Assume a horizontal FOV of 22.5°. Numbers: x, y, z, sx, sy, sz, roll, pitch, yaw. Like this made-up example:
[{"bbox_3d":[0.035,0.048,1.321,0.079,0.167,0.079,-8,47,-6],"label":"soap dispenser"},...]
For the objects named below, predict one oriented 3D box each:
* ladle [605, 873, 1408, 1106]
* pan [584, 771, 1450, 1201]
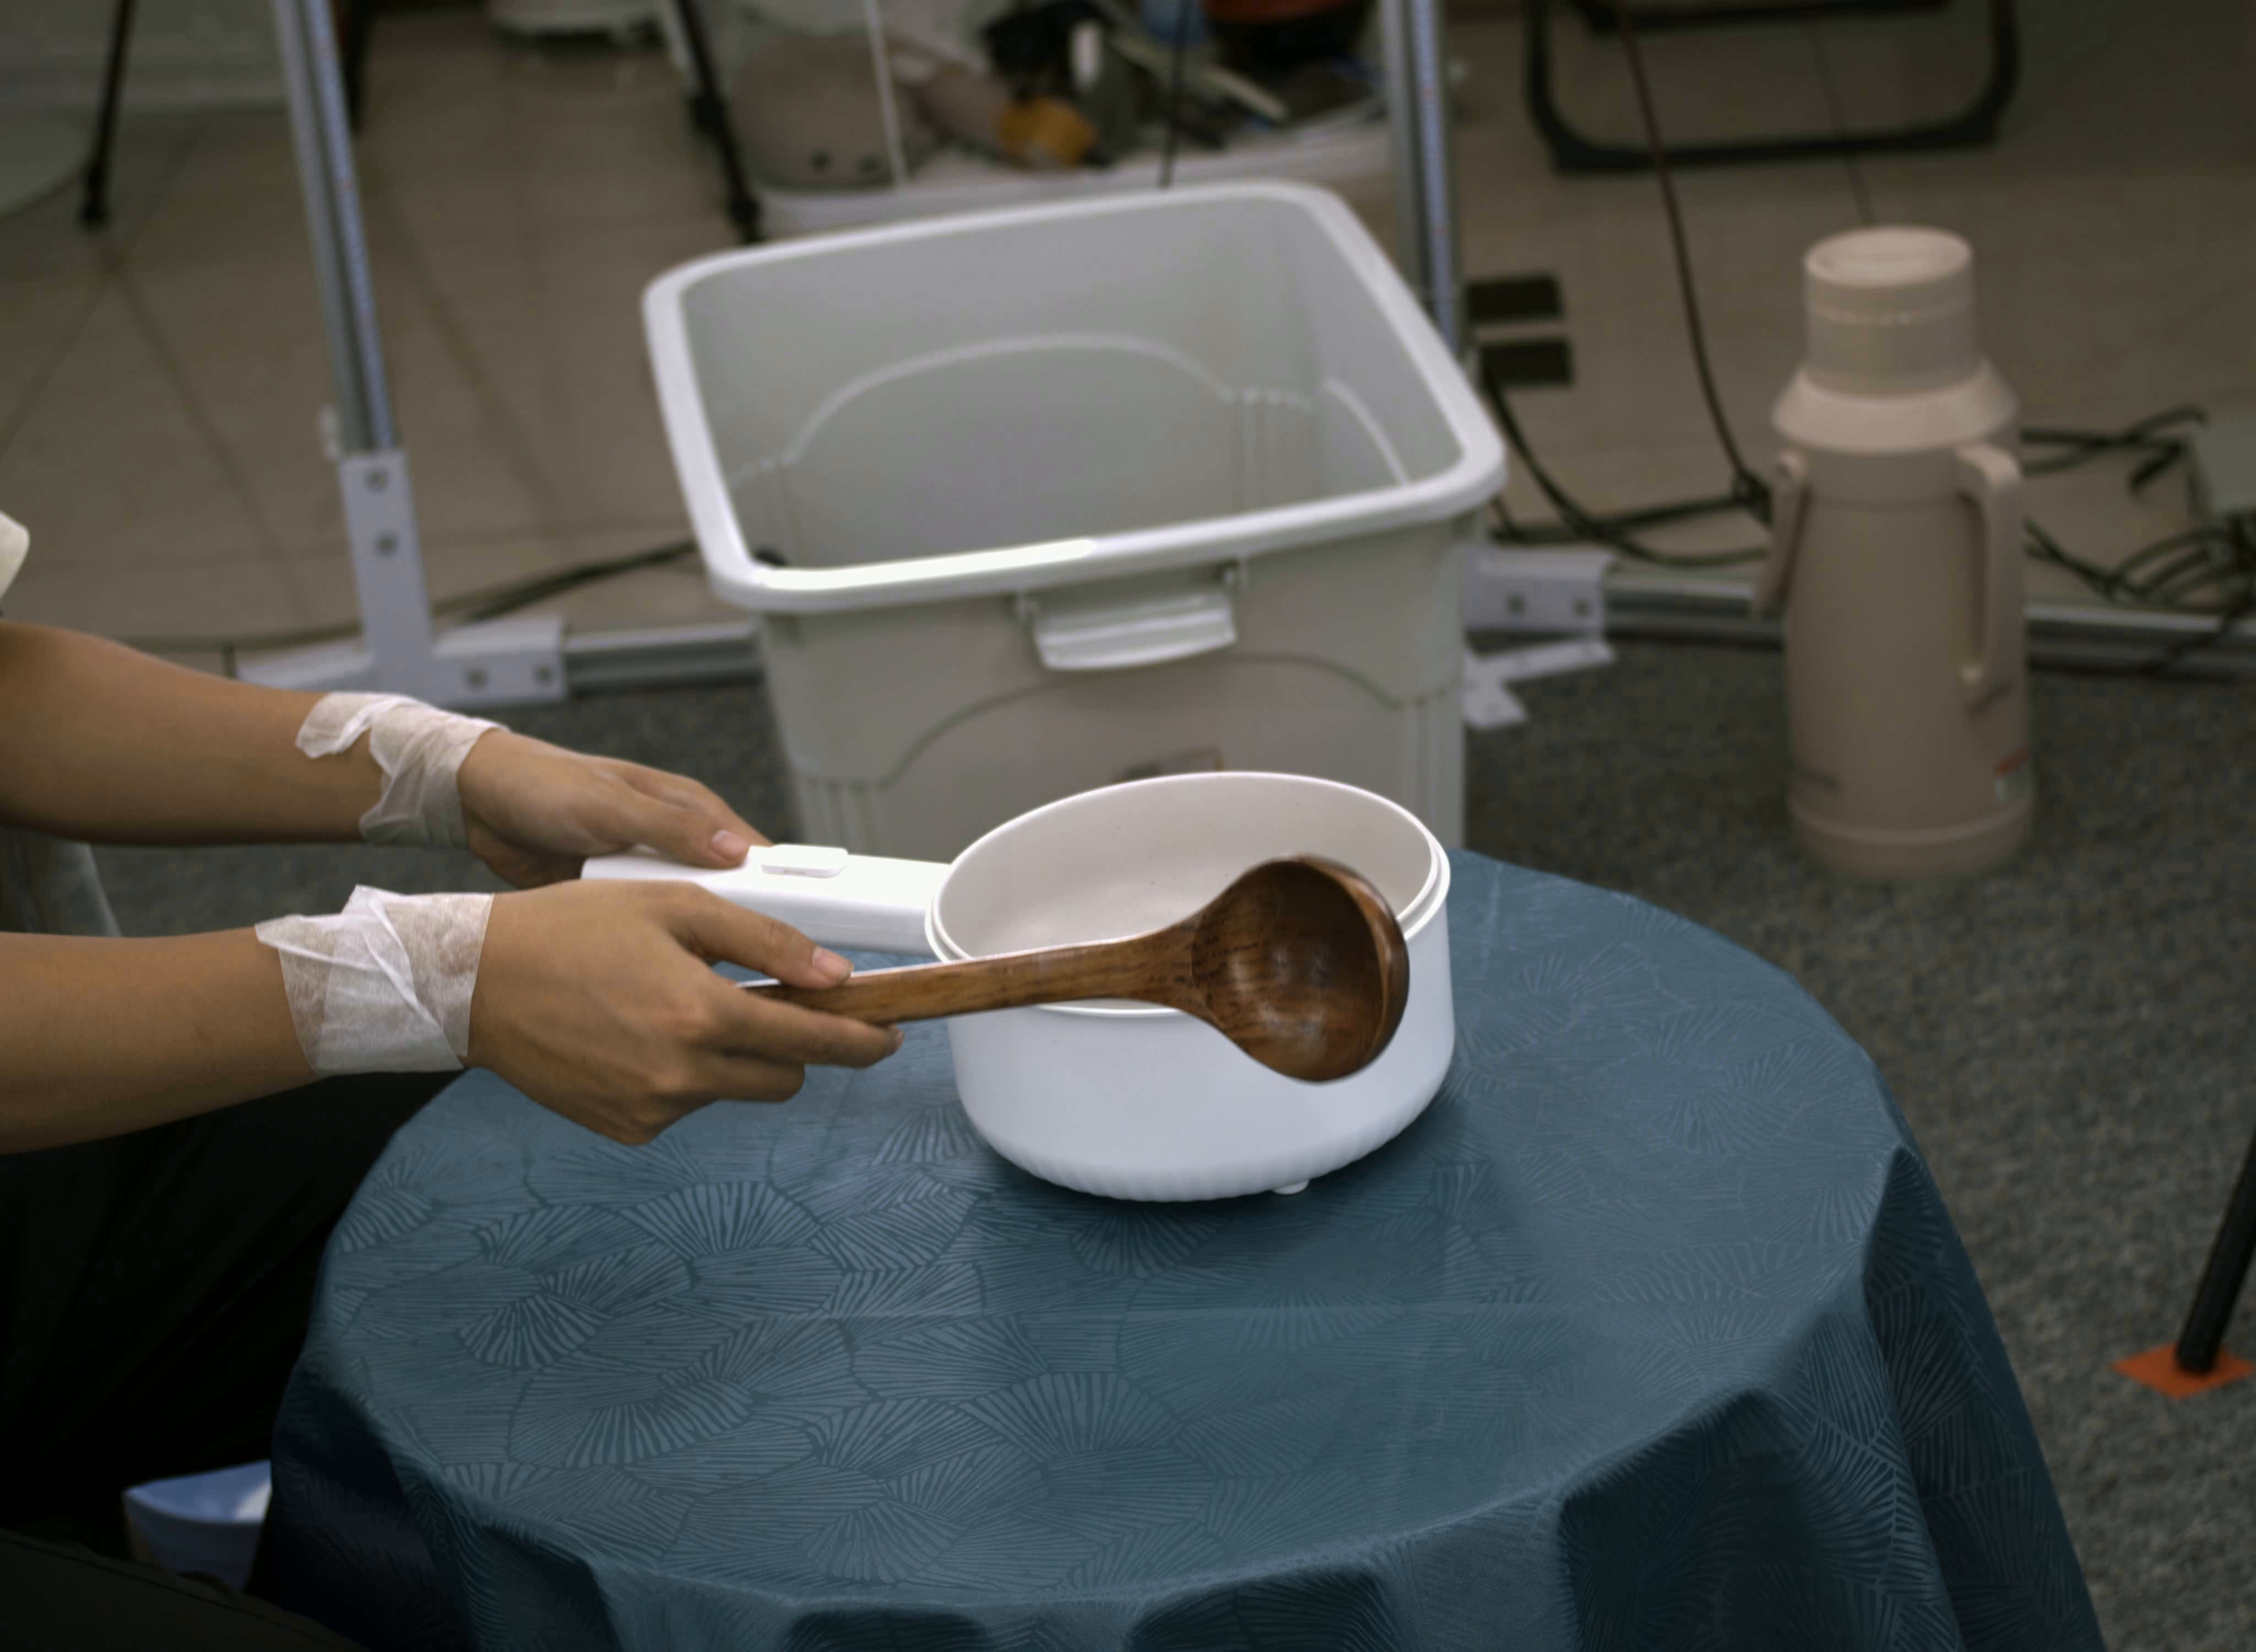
[{"bbox_3d":[-0.040,0.062,1.955,0.273,0.082,0.076,-3,9,-12],"label":"ladle"},{"bbox_3d":[-0.045,0.060,2.211,0.354,0.104,0.198,4,28,23],"label":"pan"}]
